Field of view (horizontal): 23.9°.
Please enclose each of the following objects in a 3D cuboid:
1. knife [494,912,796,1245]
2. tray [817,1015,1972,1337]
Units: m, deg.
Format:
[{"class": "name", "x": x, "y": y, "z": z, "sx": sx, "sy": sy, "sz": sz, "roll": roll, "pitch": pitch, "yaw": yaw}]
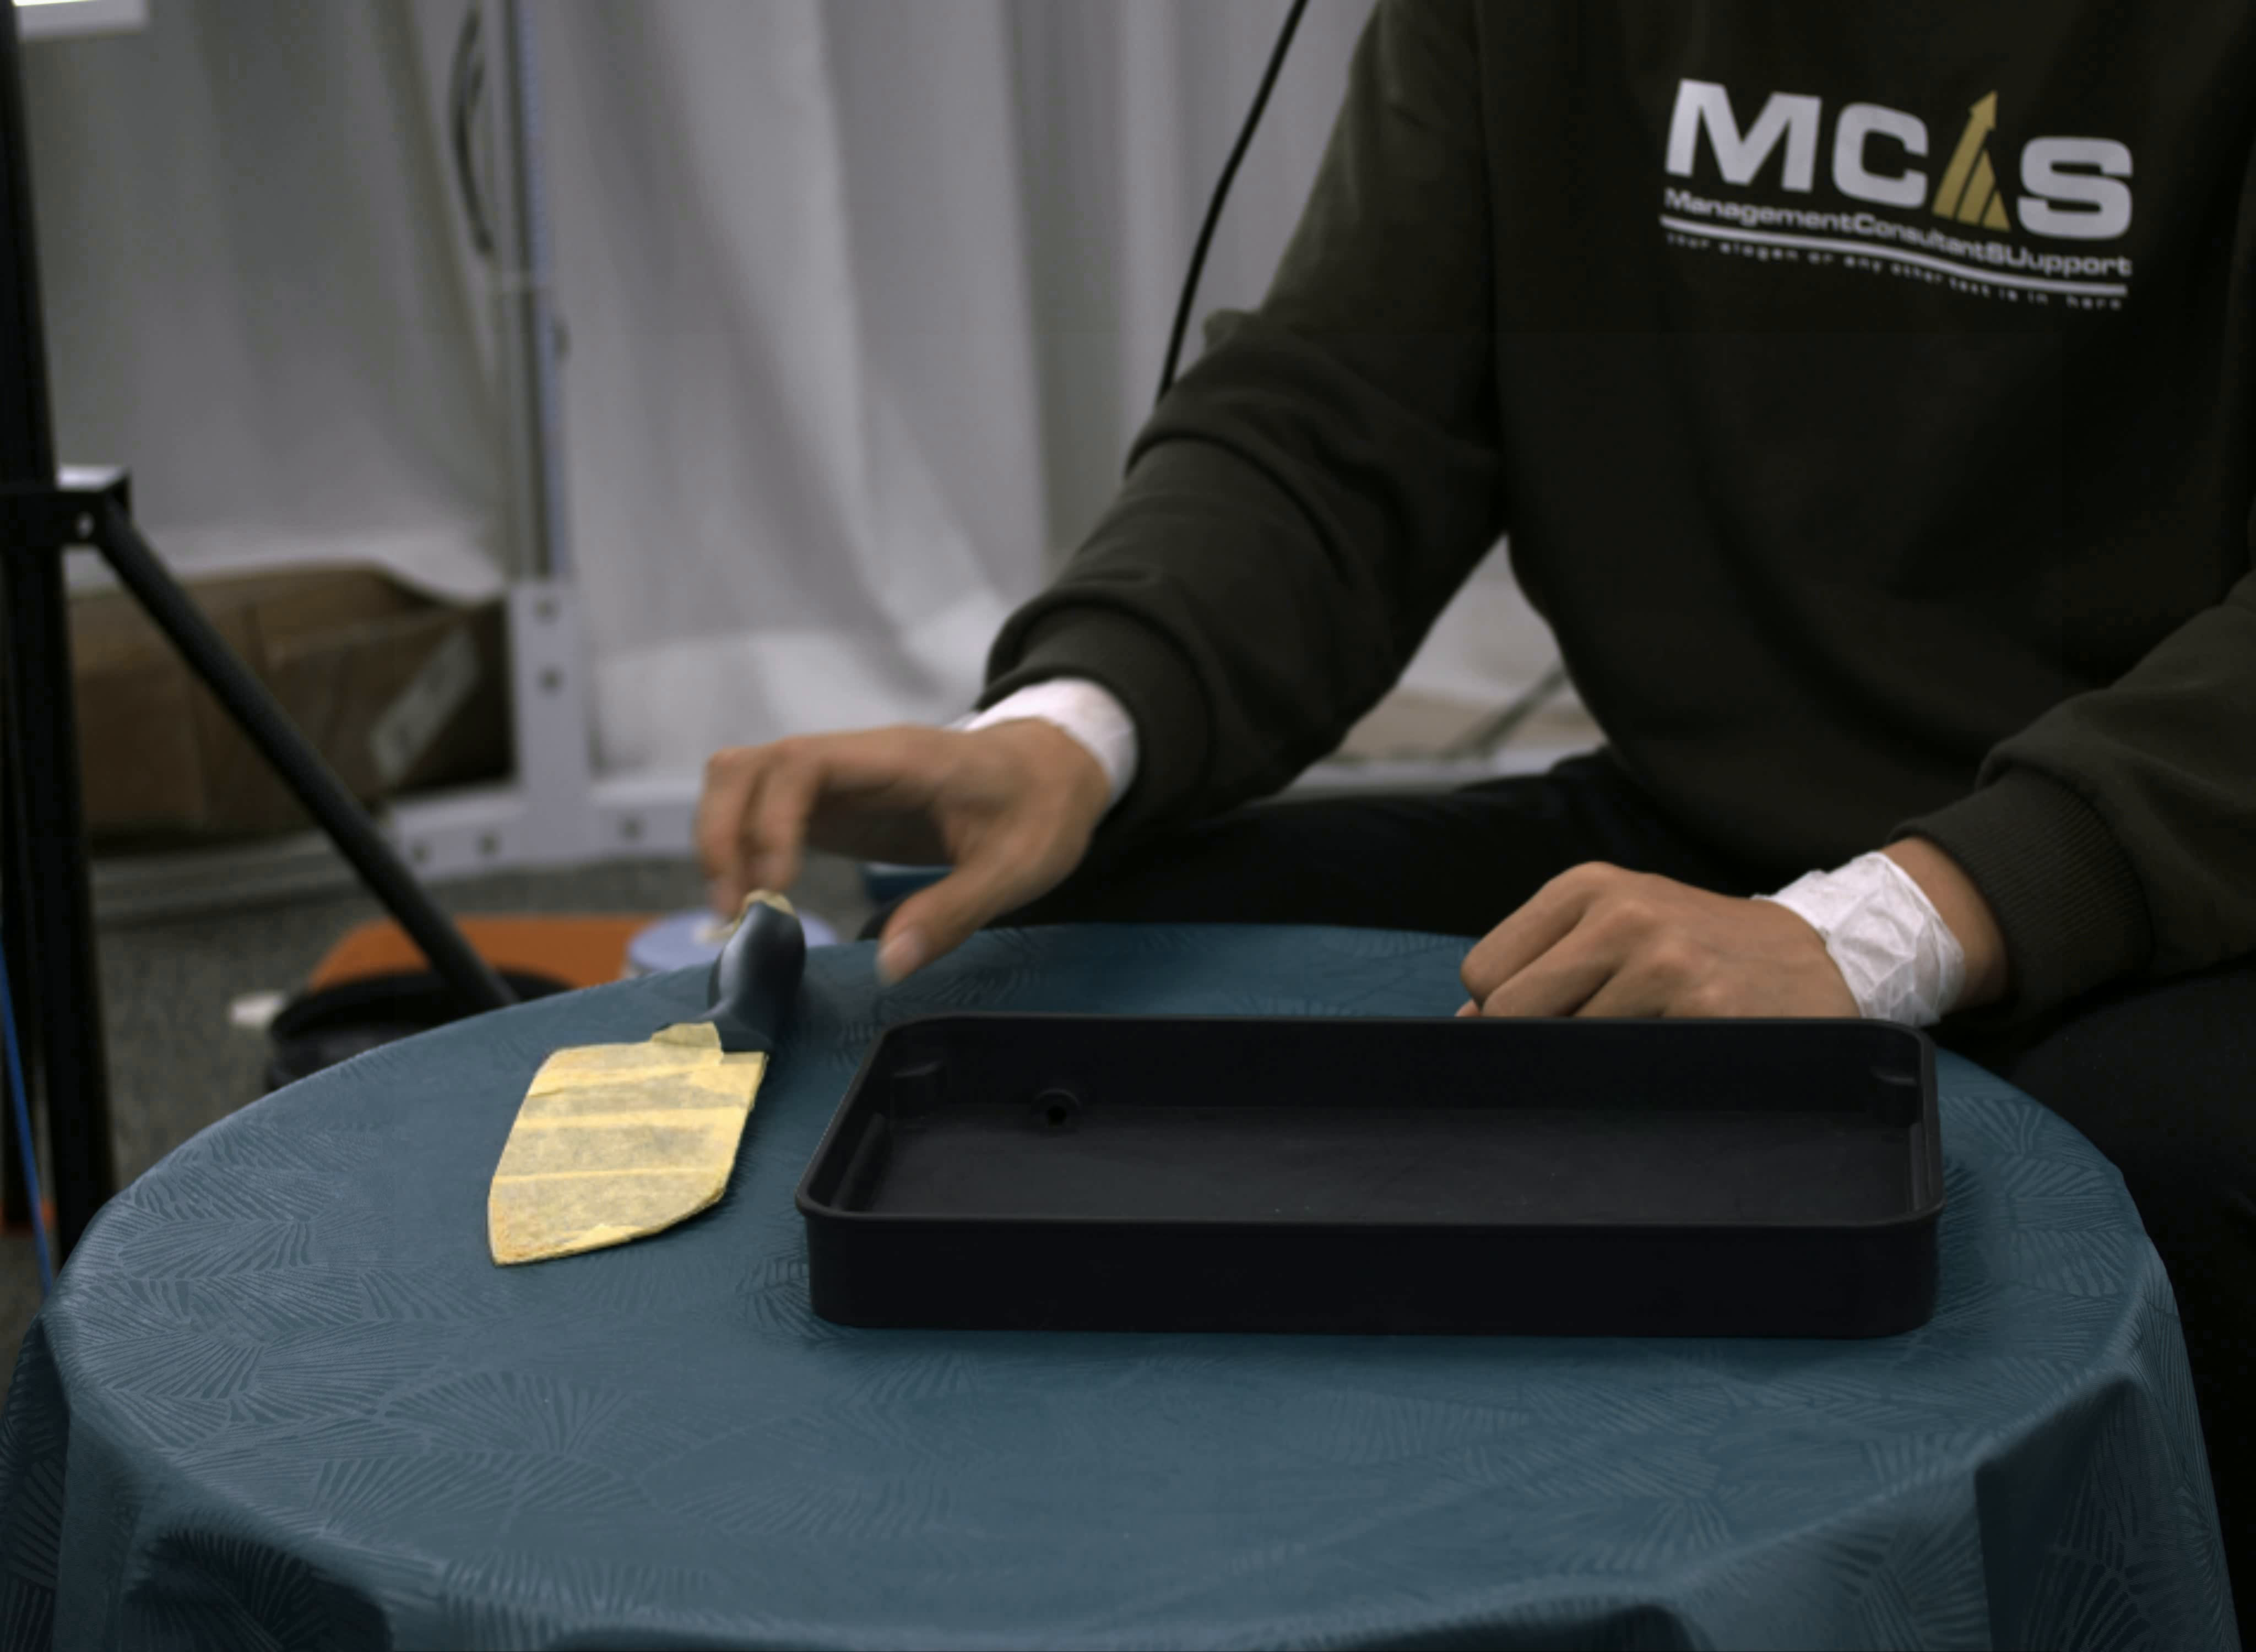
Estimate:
[{"class": "knife", "x": -0.147, "y": 0.079, "z": 1.663, "sx": 0.081, "sy": 0.027, "sz": 0.289, "roll": 0, "pitch": 17, "yaw": 6}, {"class": "tray", "x": 0.078, "y": 0.098, "z": 1.520, "sx": 0.318, "sy": 0.037, "sz": 0.184, "roll": 0, "pitch": 15, "yaw": 7}]
